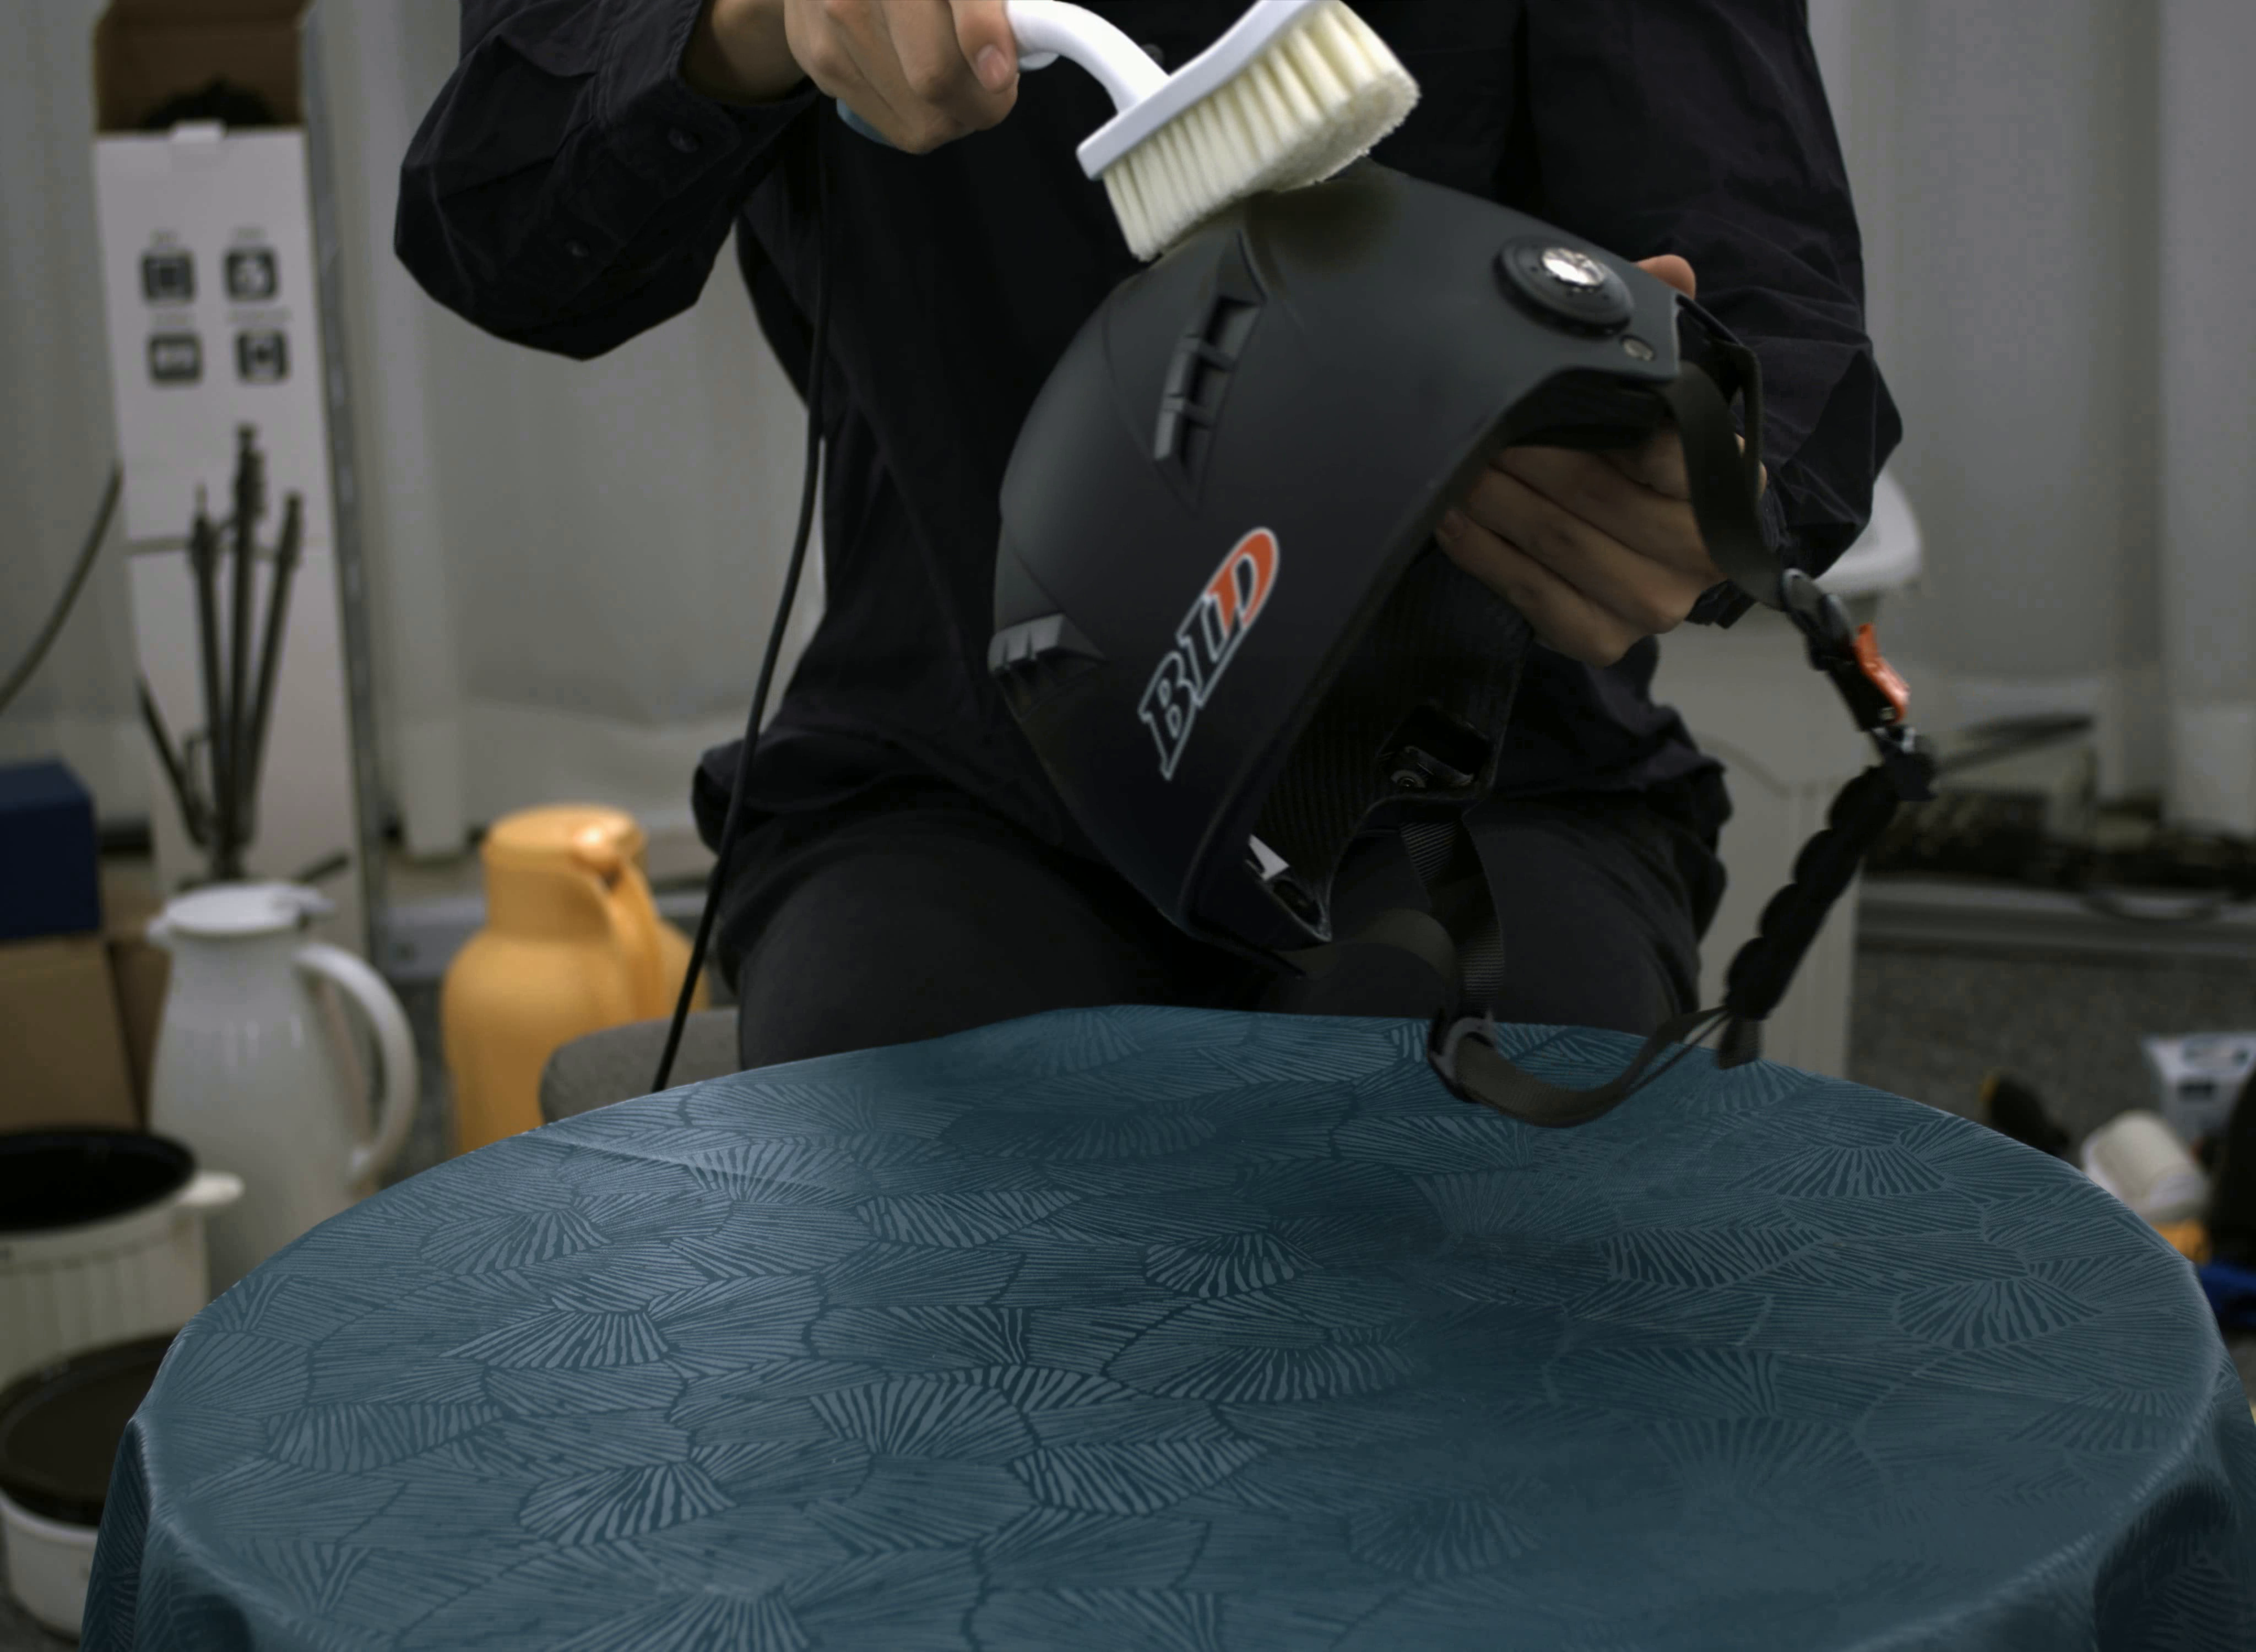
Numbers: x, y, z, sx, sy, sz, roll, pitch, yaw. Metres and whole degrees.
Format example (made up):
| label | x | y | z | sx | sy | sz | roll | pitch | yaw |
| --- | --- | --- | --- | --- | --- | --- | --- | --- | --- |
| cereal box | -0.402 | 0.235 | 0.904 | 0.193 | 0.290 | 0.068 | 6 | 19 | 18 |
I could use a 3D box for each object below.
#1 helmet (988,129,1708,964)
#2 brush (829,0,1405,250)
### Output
| label | x | y | z | sx | sy | sz | roll | pitch | yaw |
| --- | --- | --- | --- | --- | --- | --- | --- | --- | --- |
| helmet | 0.051 | -0.096 | 1.581 | 0.173 | 0.245 | 0.277 | 34 | 23 | 10 |
| brush | -0.004 | -0.209 | 1.665 | 0.082 | 0.085 | 0.326 | 15 | -5 | -26 |
